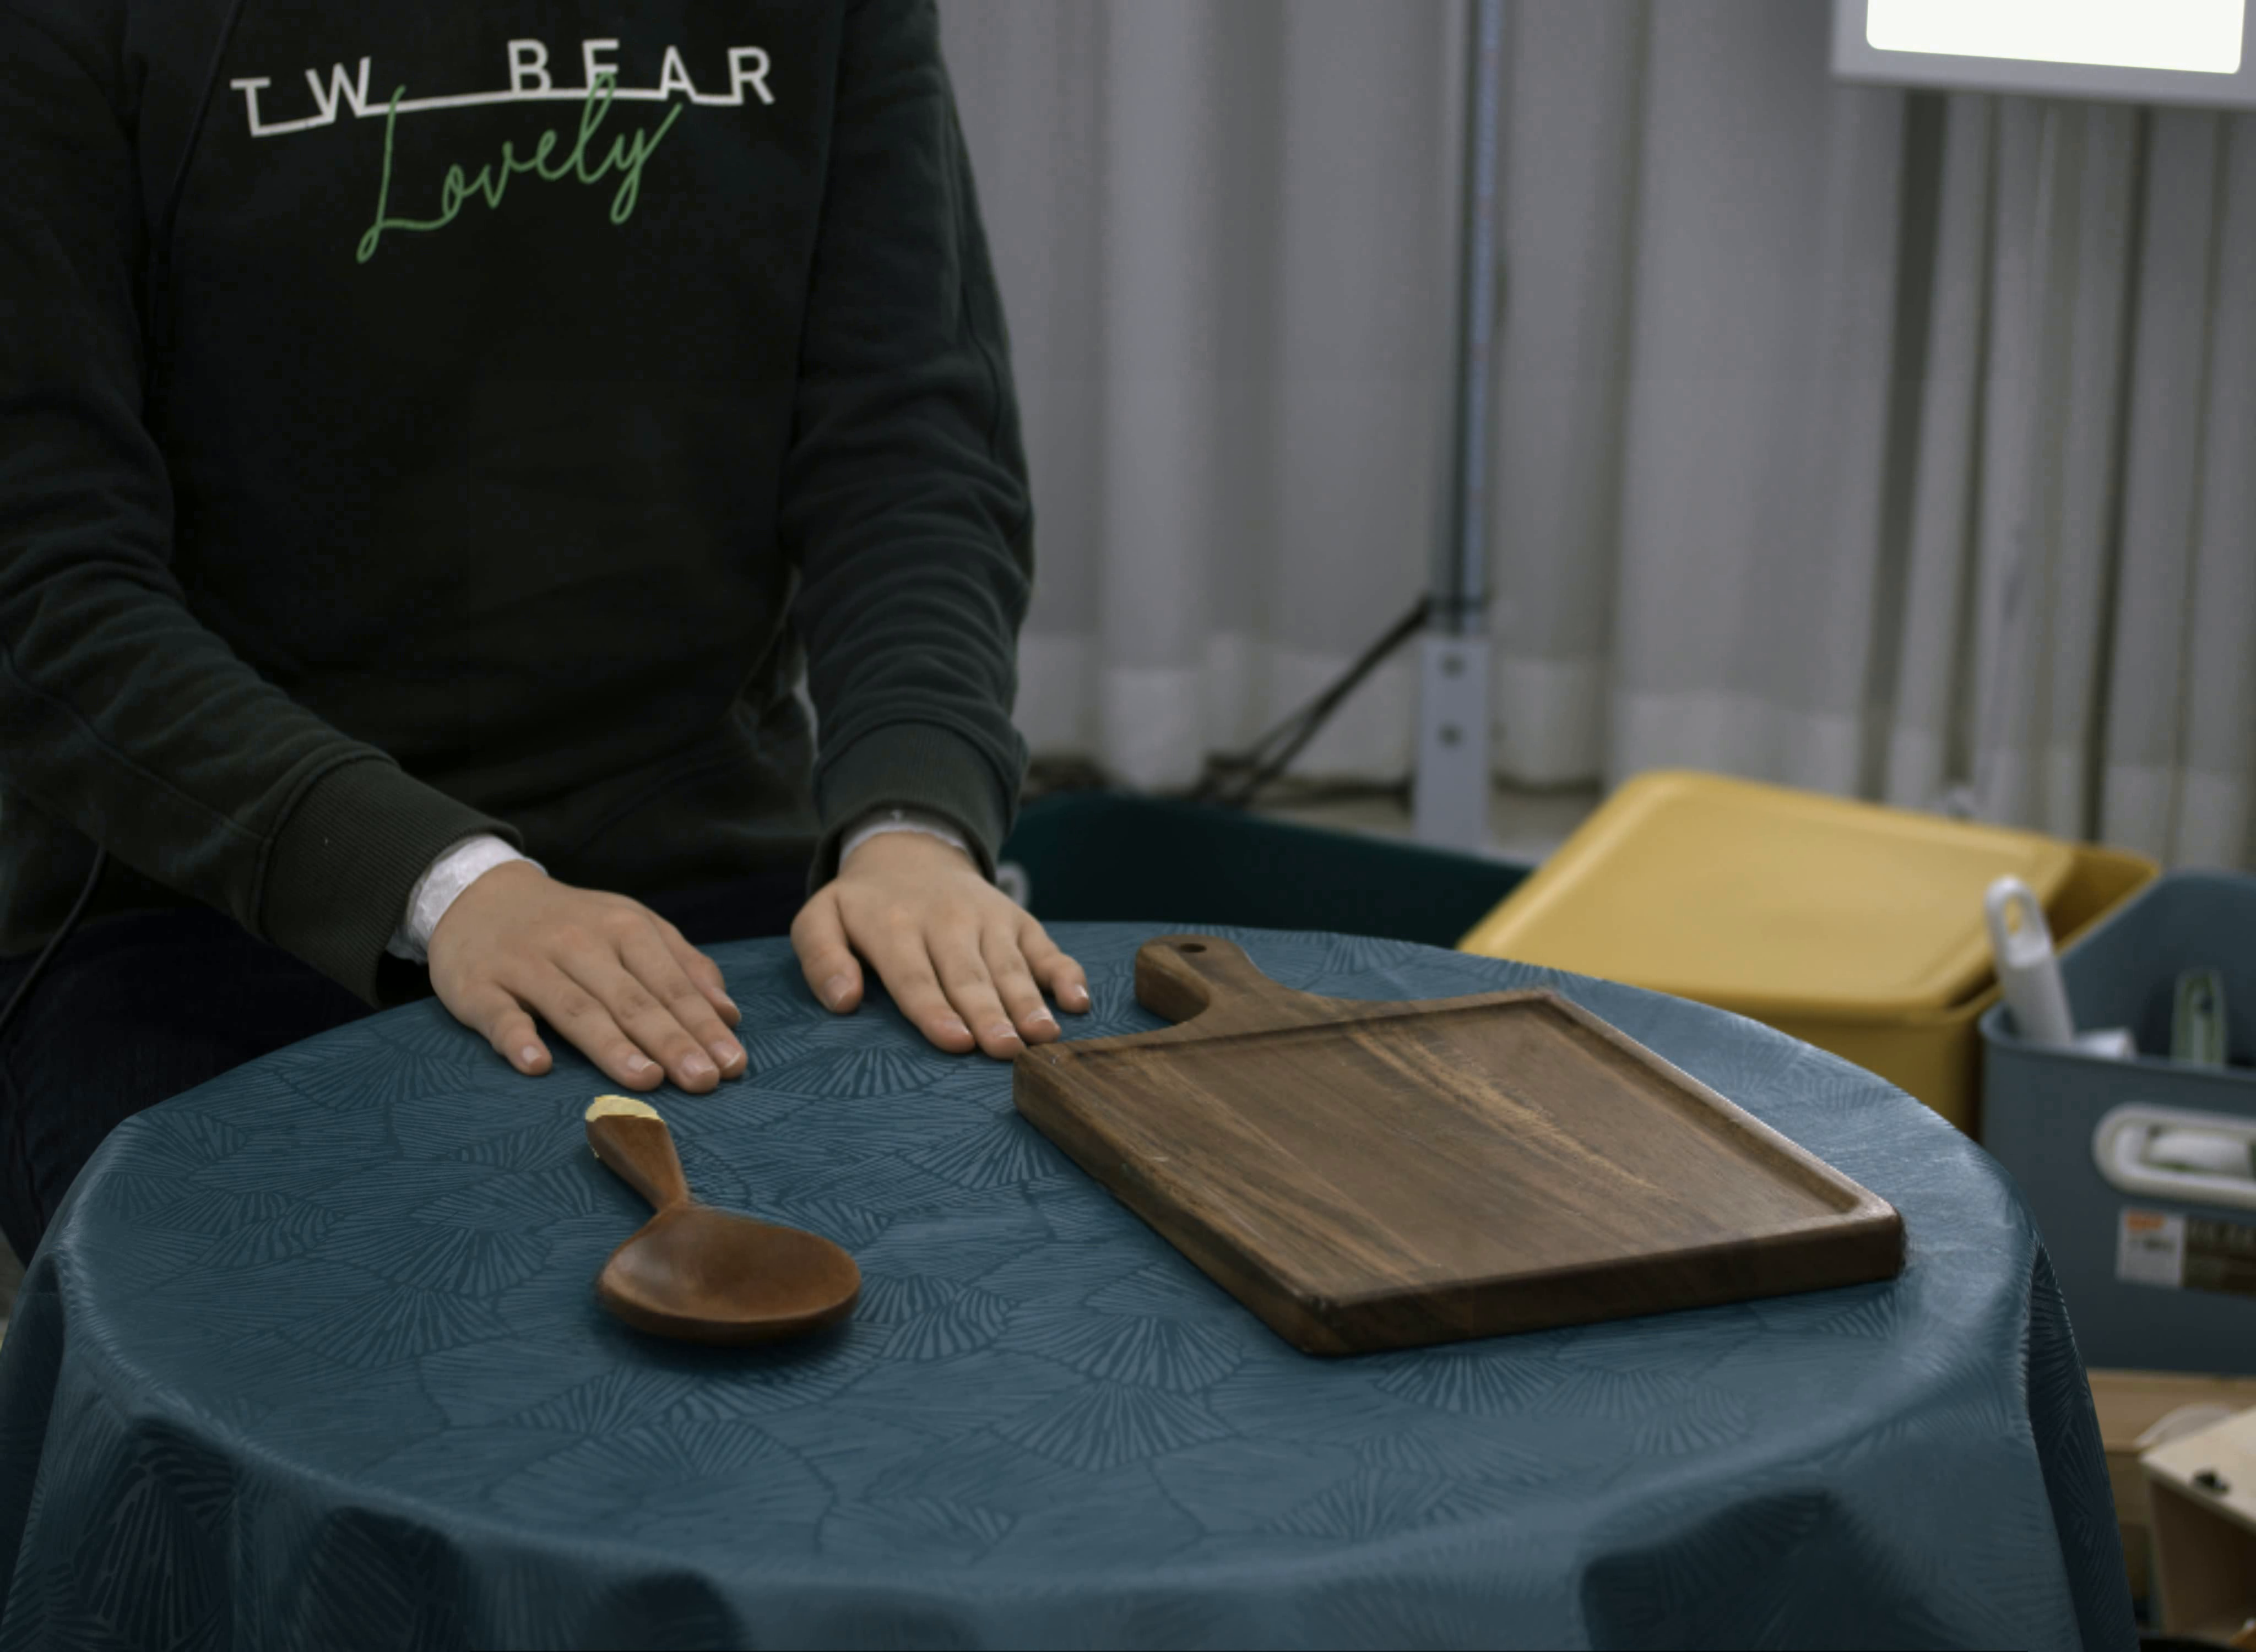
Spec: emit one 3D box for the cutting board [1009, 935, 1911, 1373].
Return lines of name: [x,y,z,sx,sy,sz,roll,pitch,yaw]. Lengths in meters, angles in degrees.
cutting board: [0.079,0.092,1.672,0.201,0.023,0.348,-7,17,-21]

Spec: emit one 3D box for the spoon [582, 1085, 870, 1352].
spoon: [-0.131,0.117,1.571,0.075,0.017,0.213,-6,18,-16]
